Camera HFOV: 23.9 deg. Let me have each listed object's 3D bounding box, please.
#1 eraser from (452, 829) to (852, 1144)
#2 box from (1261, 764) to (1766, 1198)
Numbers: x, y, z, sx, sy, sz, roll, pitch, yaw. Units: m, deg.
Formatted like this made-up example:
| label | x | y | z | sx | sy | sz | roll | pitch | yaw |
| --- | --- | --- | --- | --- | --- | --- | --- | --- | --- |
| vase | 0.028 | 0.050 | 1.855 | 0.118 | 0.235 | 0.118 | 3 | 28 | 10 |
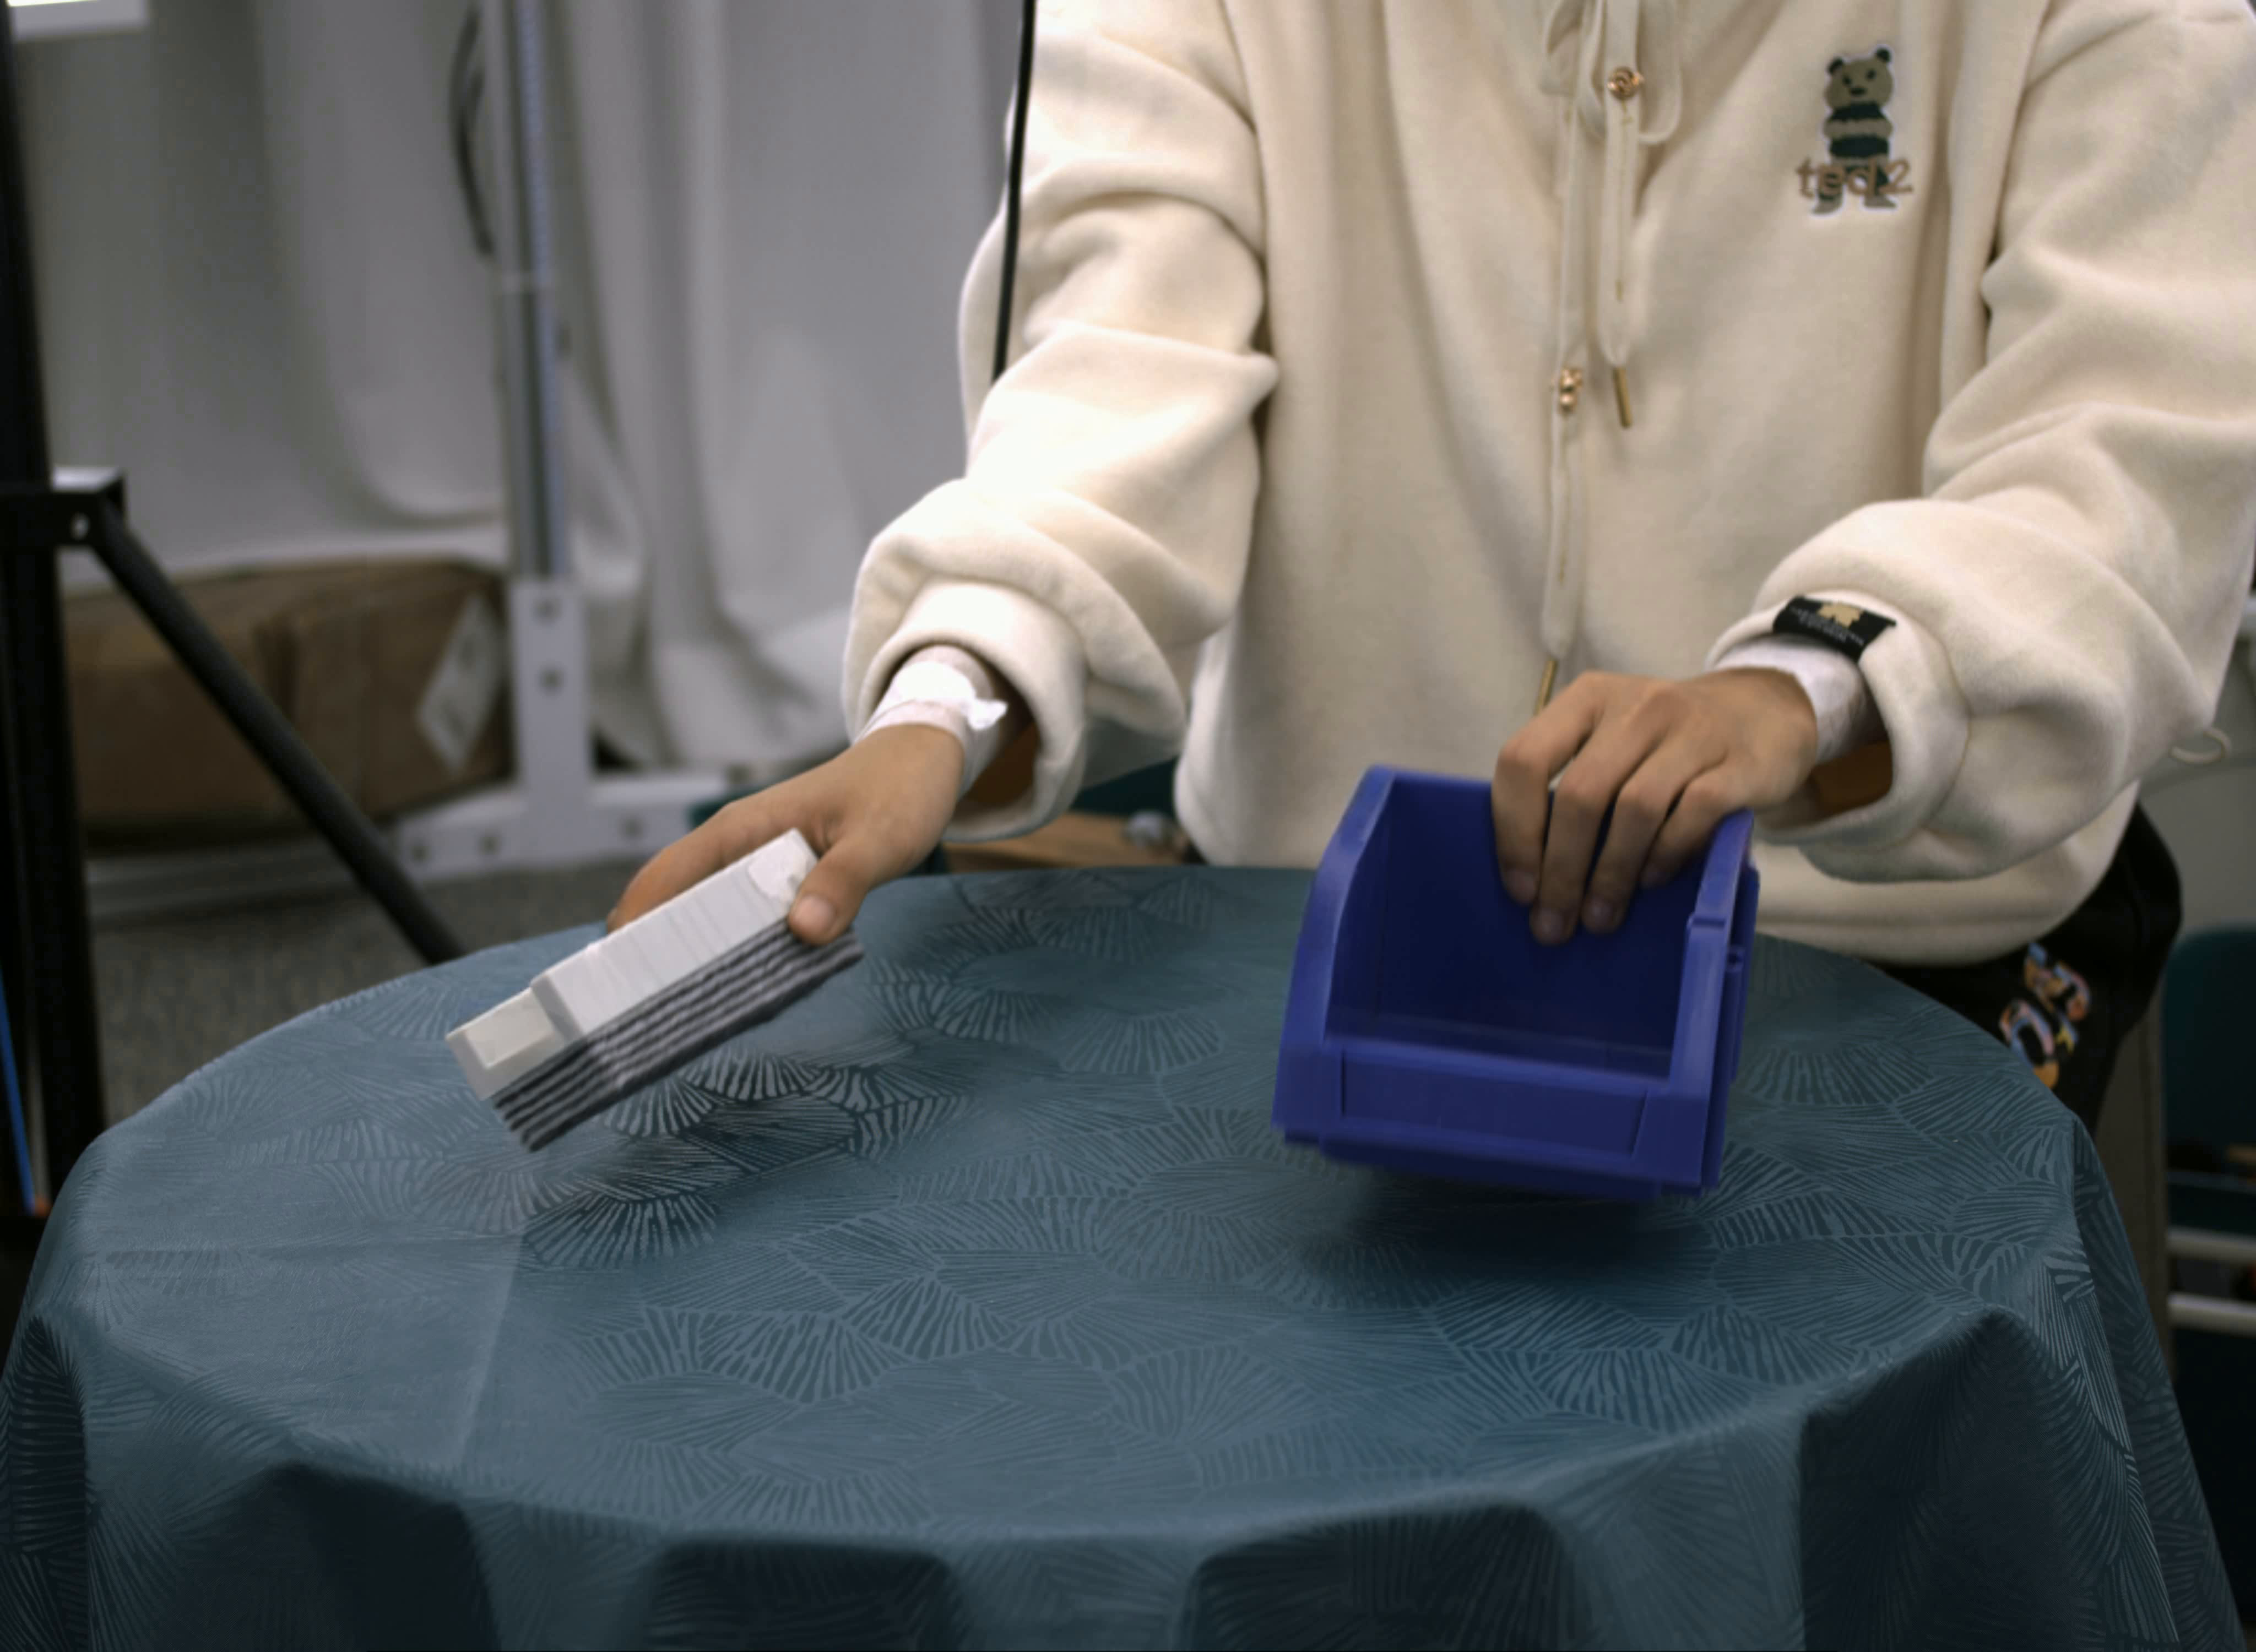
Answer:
| label | x | y | z | sx | sy | sz | roll | pitch | yaw |
| --- | --- | --- | --- | --- | --- | --- | --- | --- | --- |
| eraser | -0.139 | 0.047 | 1.596 | 0.050 | 0.047 | 0.132 | -38 | -3 | 34 |
| box | 0.115 | 0.047 | 1.527 | 0.125 | 0.082 | 0.178 | 8 | 13 | 9 |
